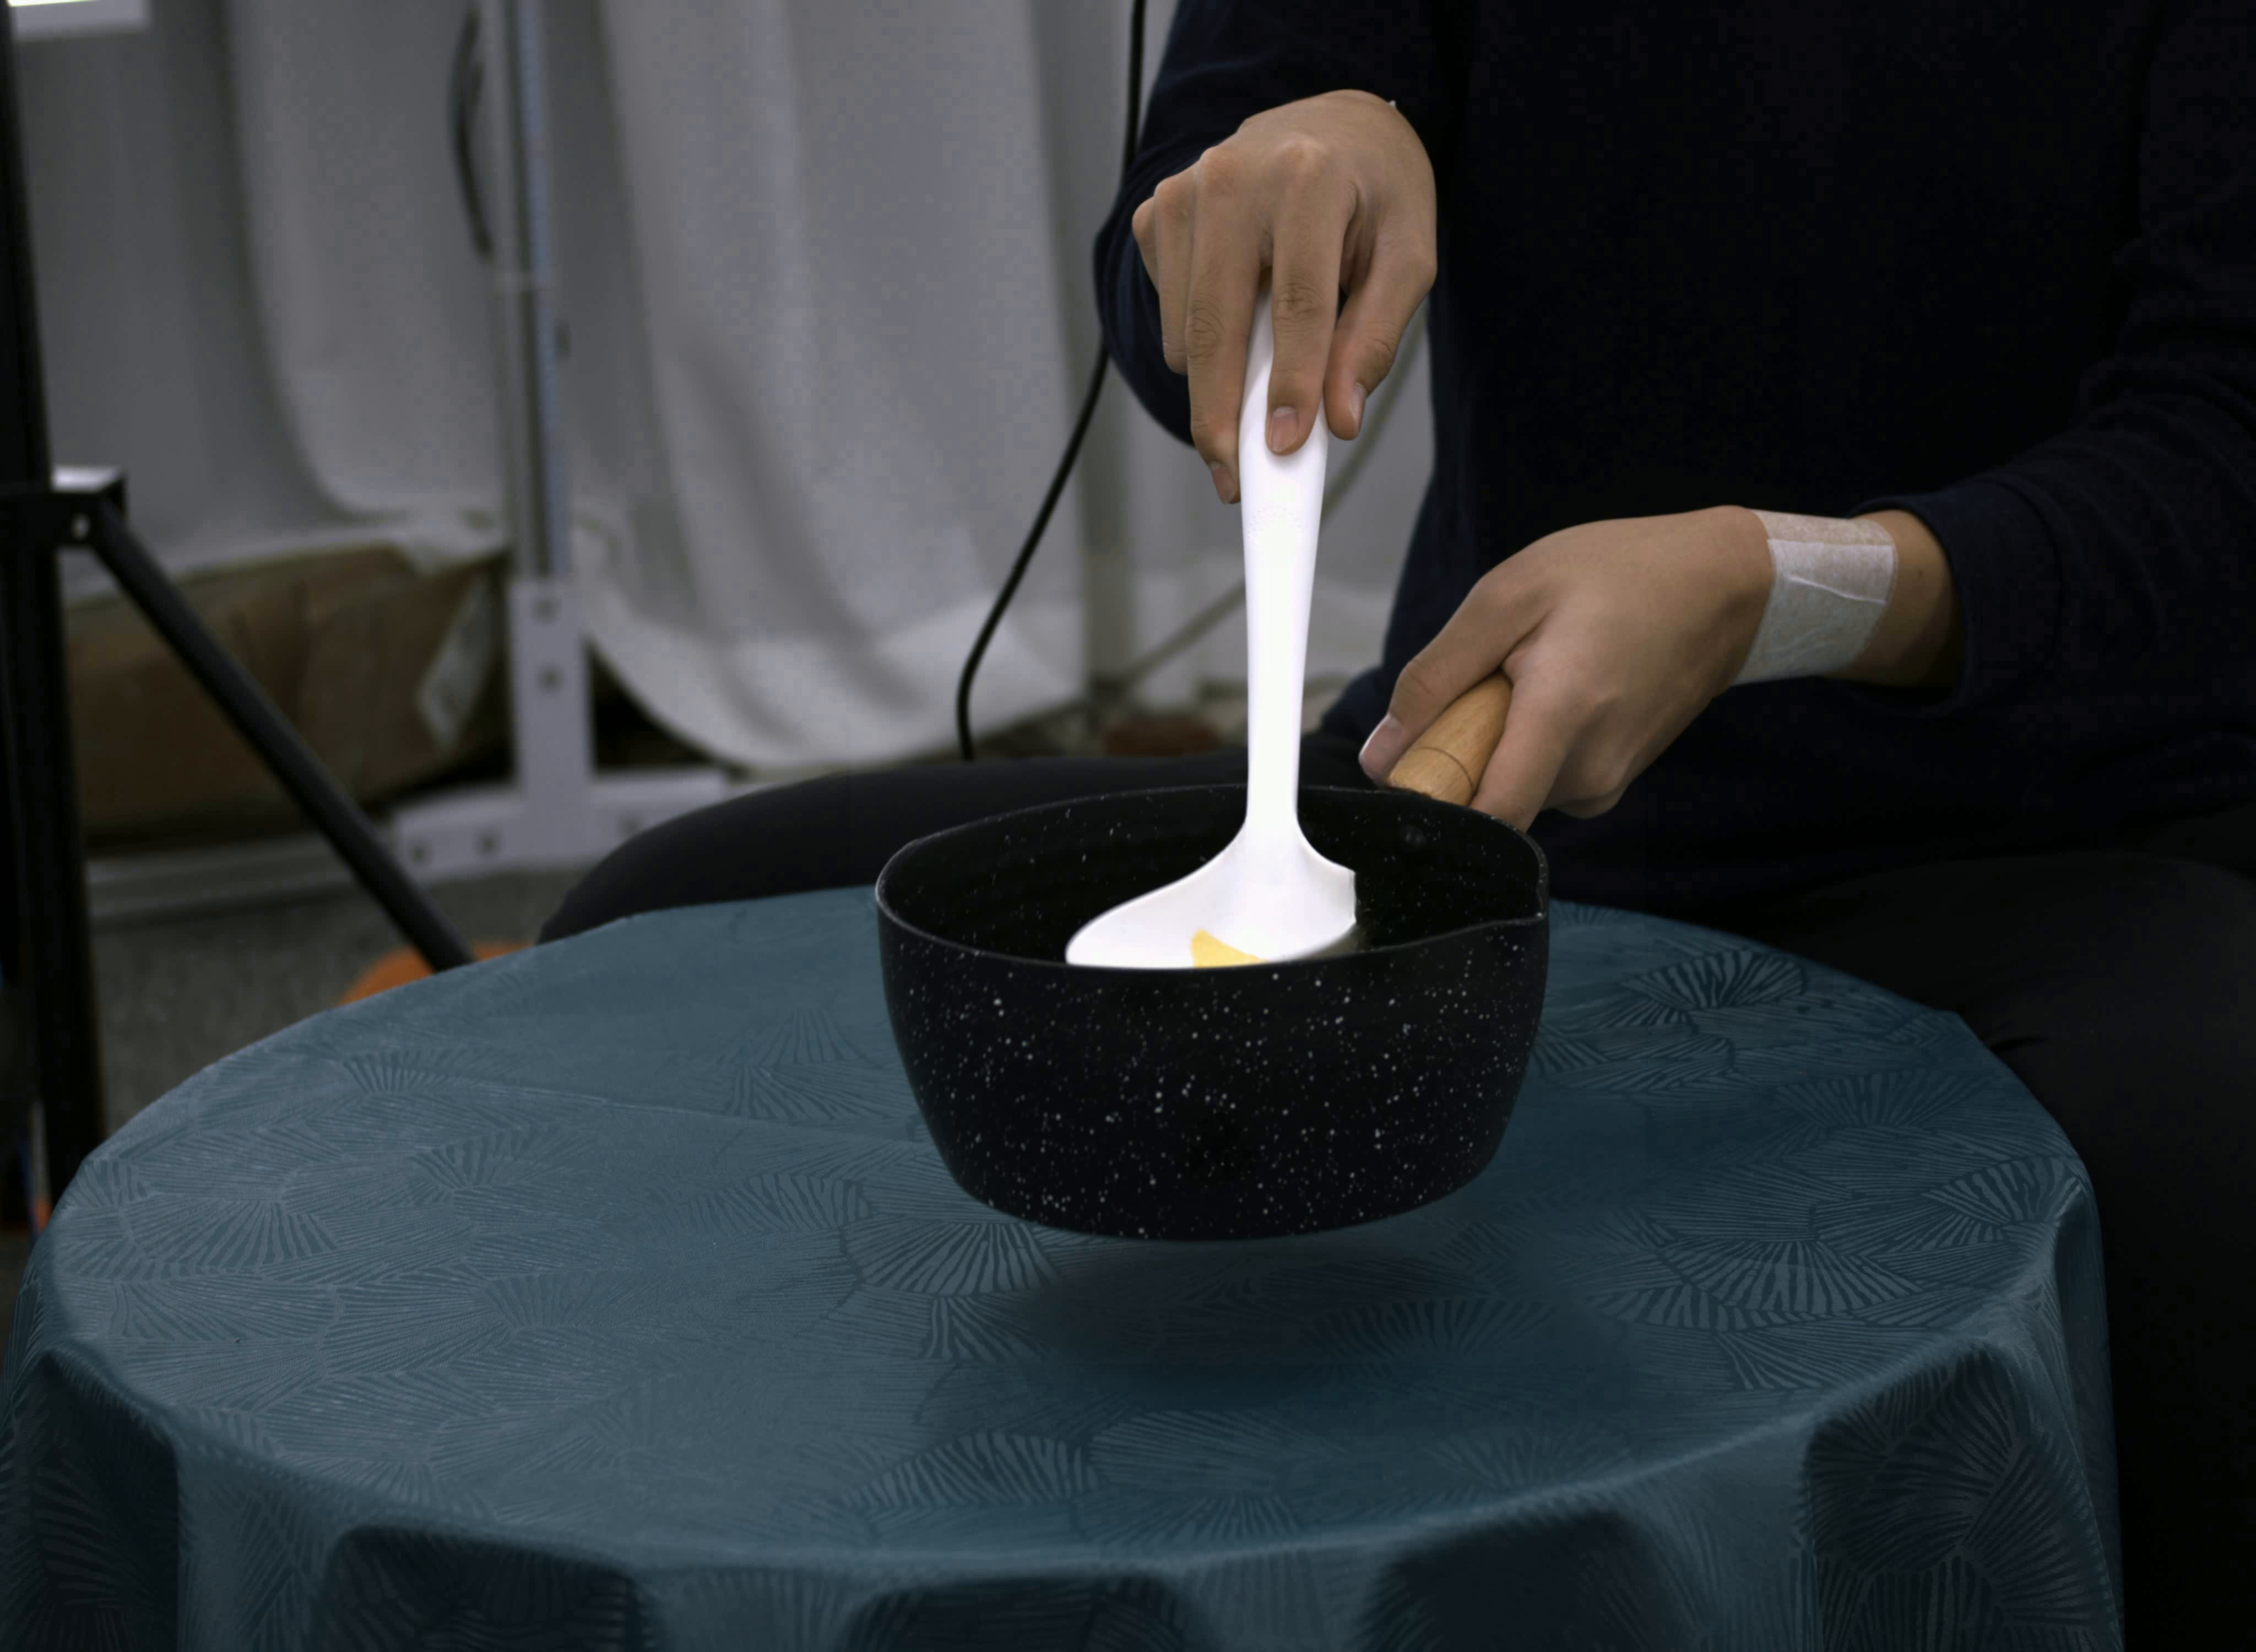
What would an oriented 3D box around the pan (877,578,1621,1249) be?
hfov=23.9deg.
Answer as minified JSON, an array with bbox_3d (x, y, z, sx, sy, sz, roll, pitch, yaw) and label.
[{"bbox_3d":[0.062,0.020,1.521,0.211,0.108,0.337,5,18,29],"label":"pan"}]

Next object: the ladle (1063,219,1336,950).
[{"bbox_3d":[0.029,-0.063,1.538,0.091,0.068,0.295,-14,53,27],"label":"ladle"}]
